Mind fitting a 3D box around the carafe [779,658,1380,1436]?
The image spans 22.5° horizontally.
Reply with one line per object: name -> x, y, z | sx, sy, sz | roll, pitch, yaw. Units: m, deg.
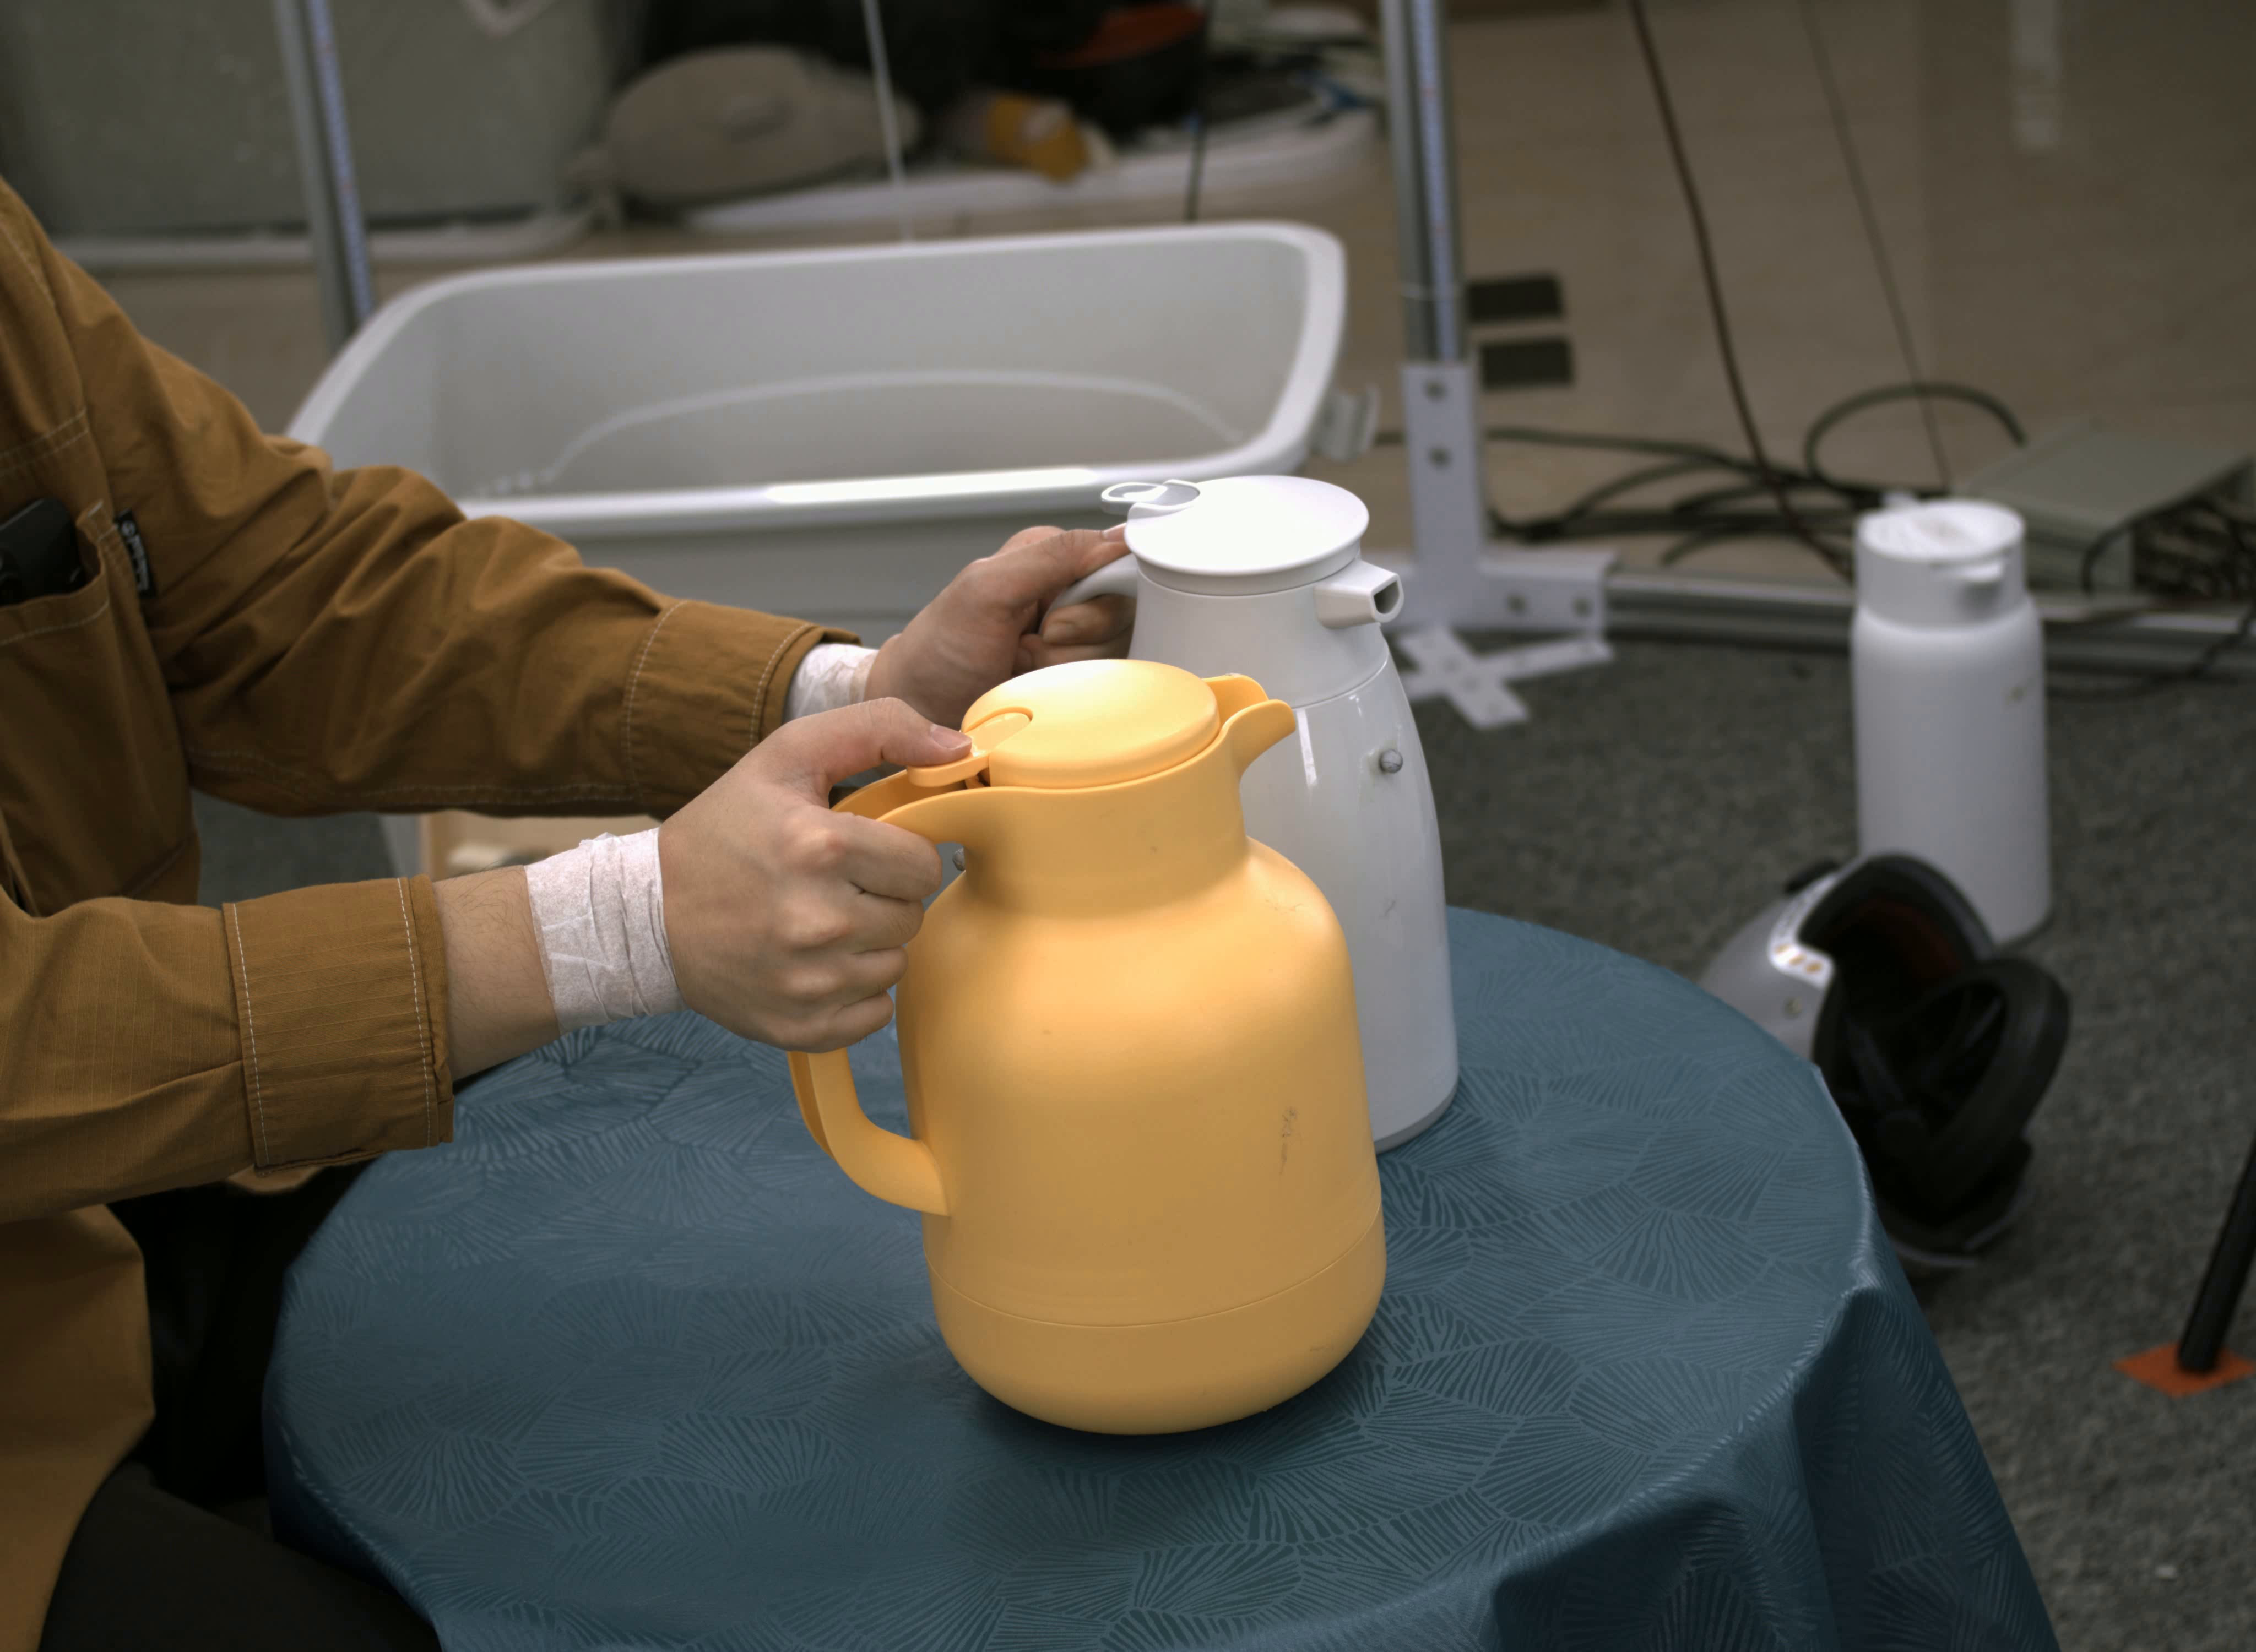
carafe -> -0.018, 0.077, 1.975 | 0.201, 0.264, 0.161 | -14, 24, -18

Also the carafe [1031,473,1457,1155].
carafe -> 0.037, -0.011, 2.160 | 0.167, 0.253, 0.131 | 13, 32, 33
